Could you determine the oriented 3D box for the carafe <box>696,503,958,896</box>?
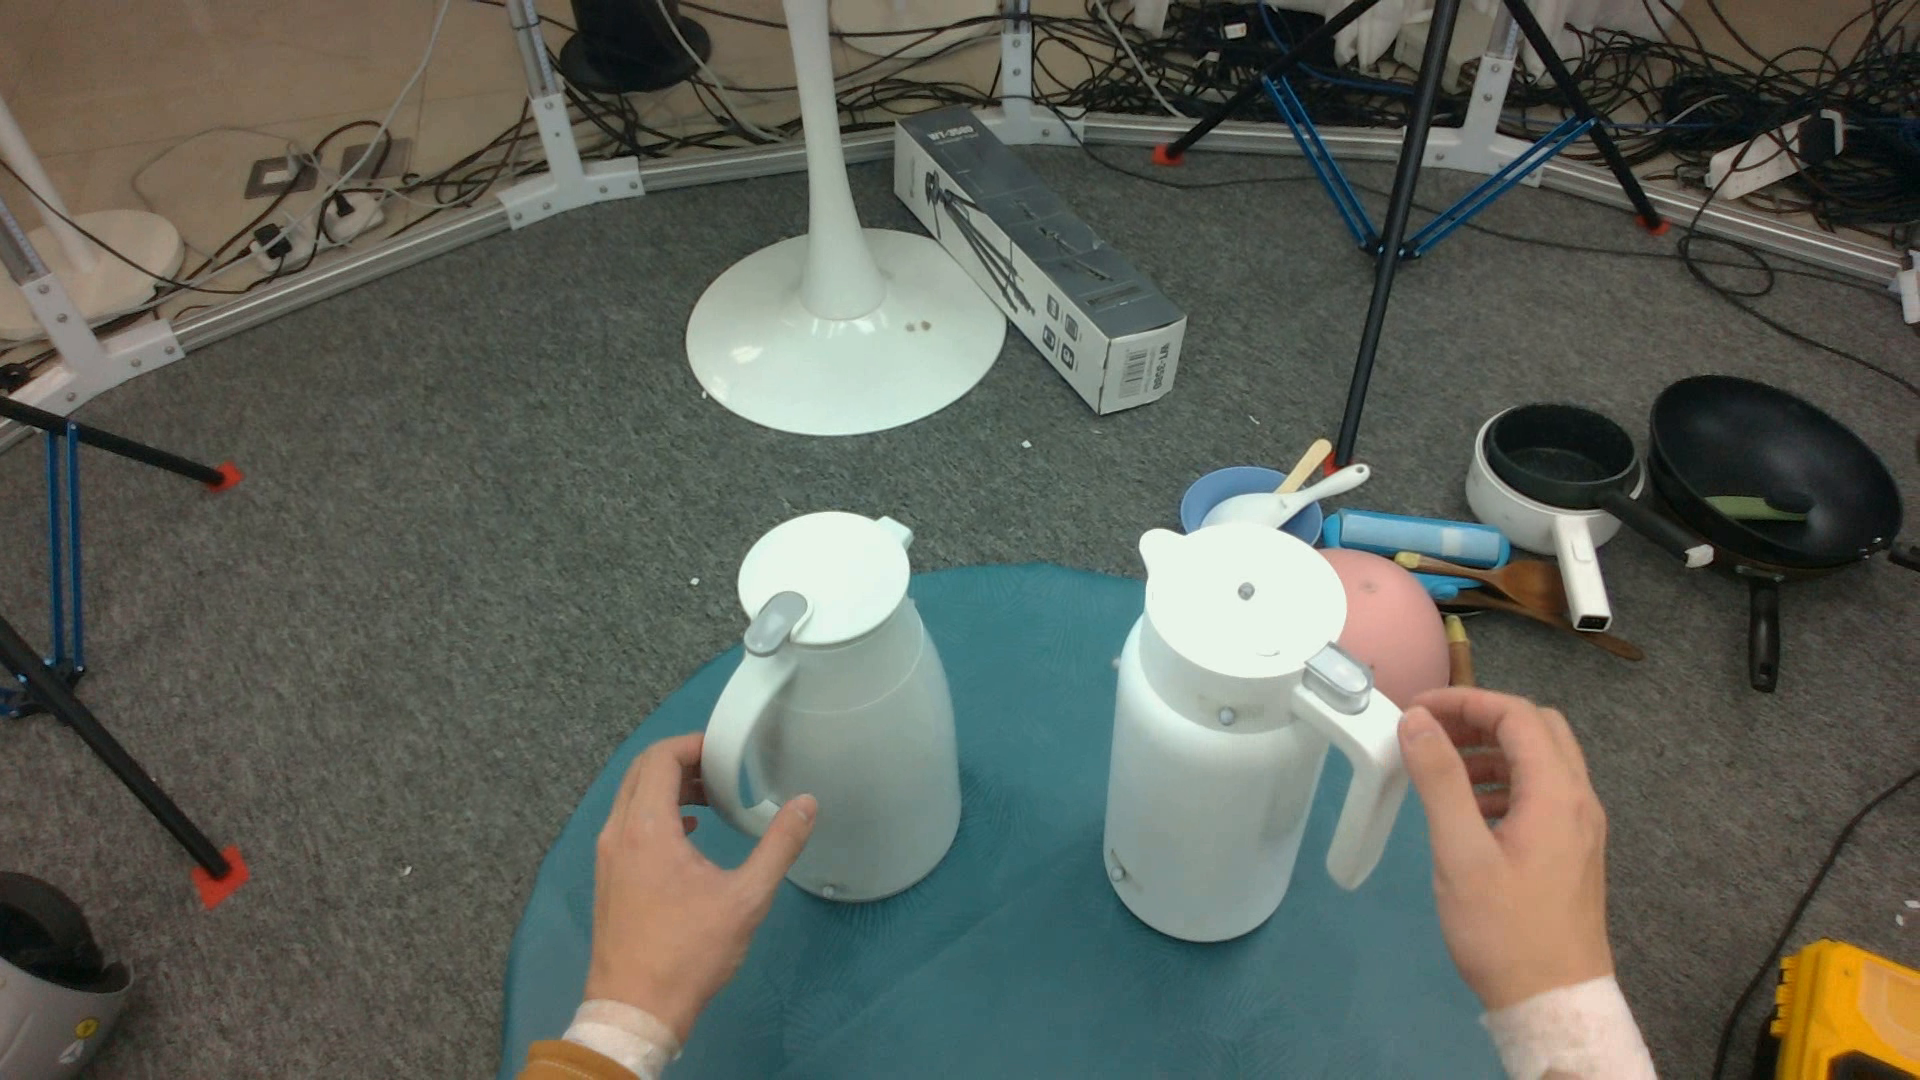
[{"bbox_3d":[-0.082,0.104,0.802,0.132,0.247,0.168,26,55,24],"label":"carafe"}]

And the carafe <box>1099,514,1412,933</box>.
[{"bbox_3d":[0.155,0.120,0.769,0.124,0.267,0.173,-33,55,-27],"label":"carafe"}]
